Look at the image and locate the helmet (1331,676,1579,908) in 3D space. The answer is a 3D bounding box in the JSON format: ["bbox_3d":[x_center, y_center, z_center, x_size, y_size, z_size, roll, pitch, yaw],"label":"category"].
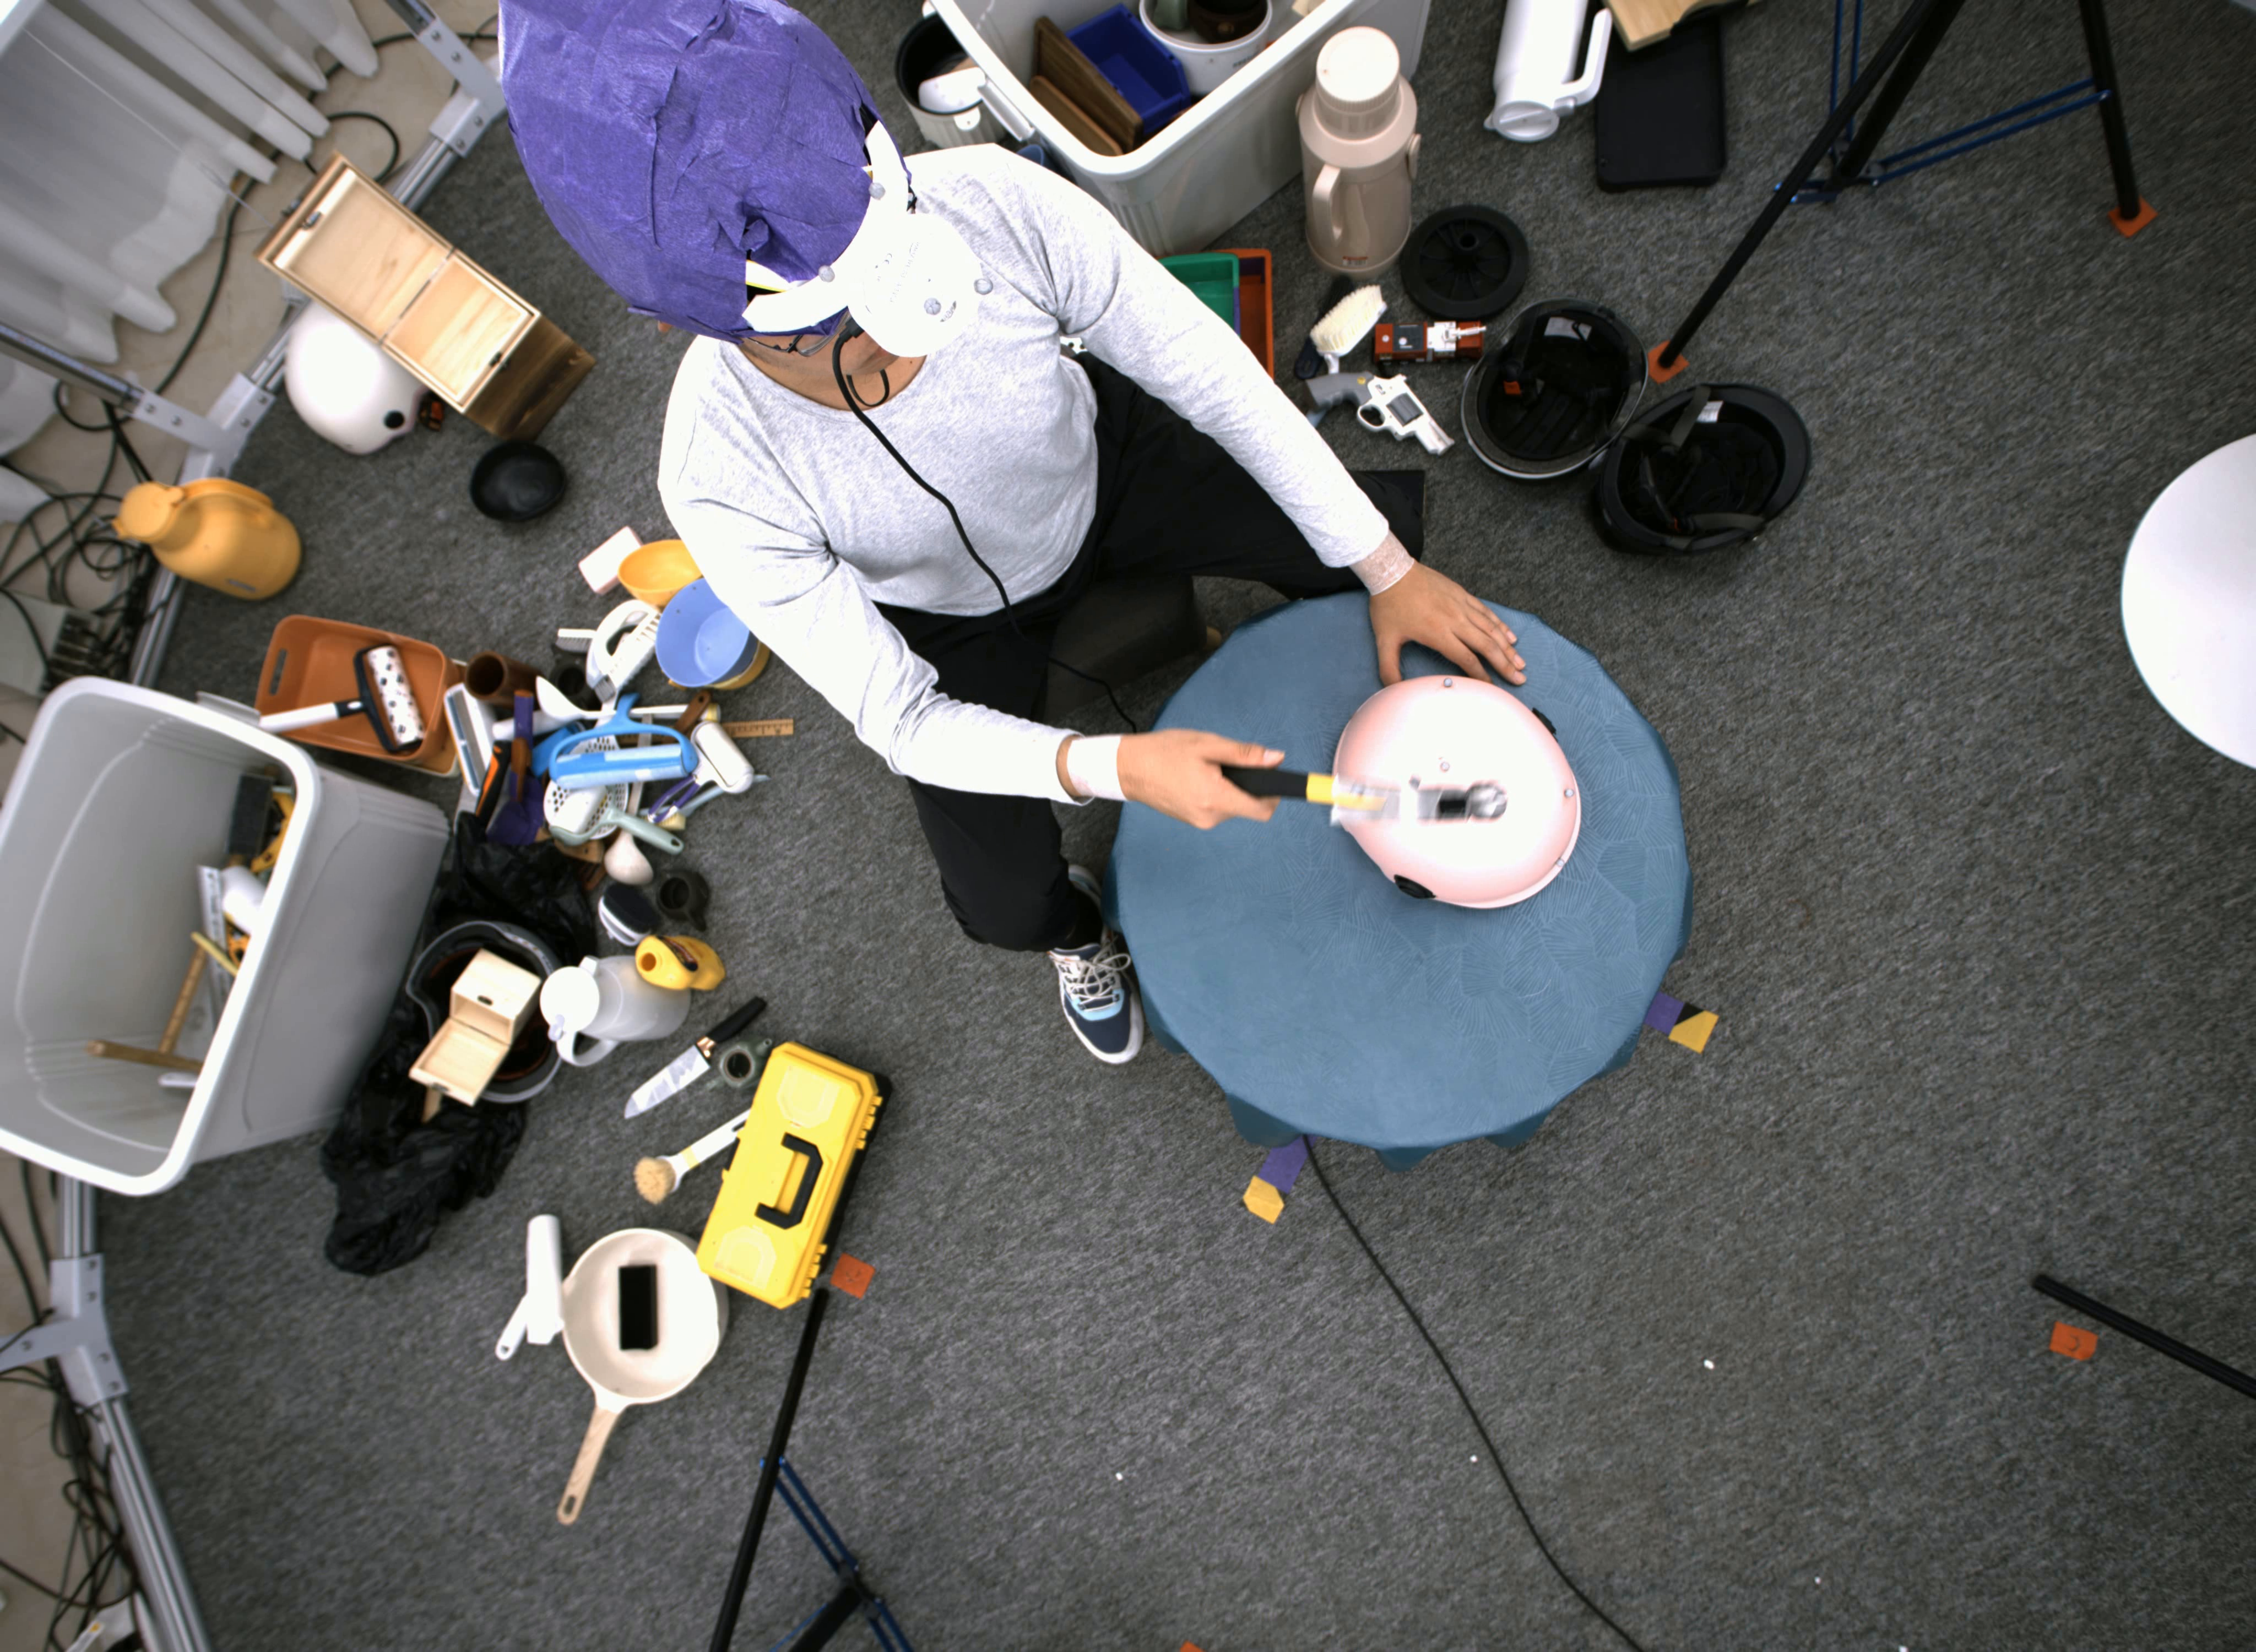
[{"bbox_3d":[0.335,-0.041,1.379,0.265,0.159,0.235,38,93,7],"label":"helmet"}]

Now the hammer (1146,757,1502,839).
[{"bbox_3d":[0.128,-0.029,1.120,0.339,0.130,0.032,13,106,53],"label":"hammer"}]
